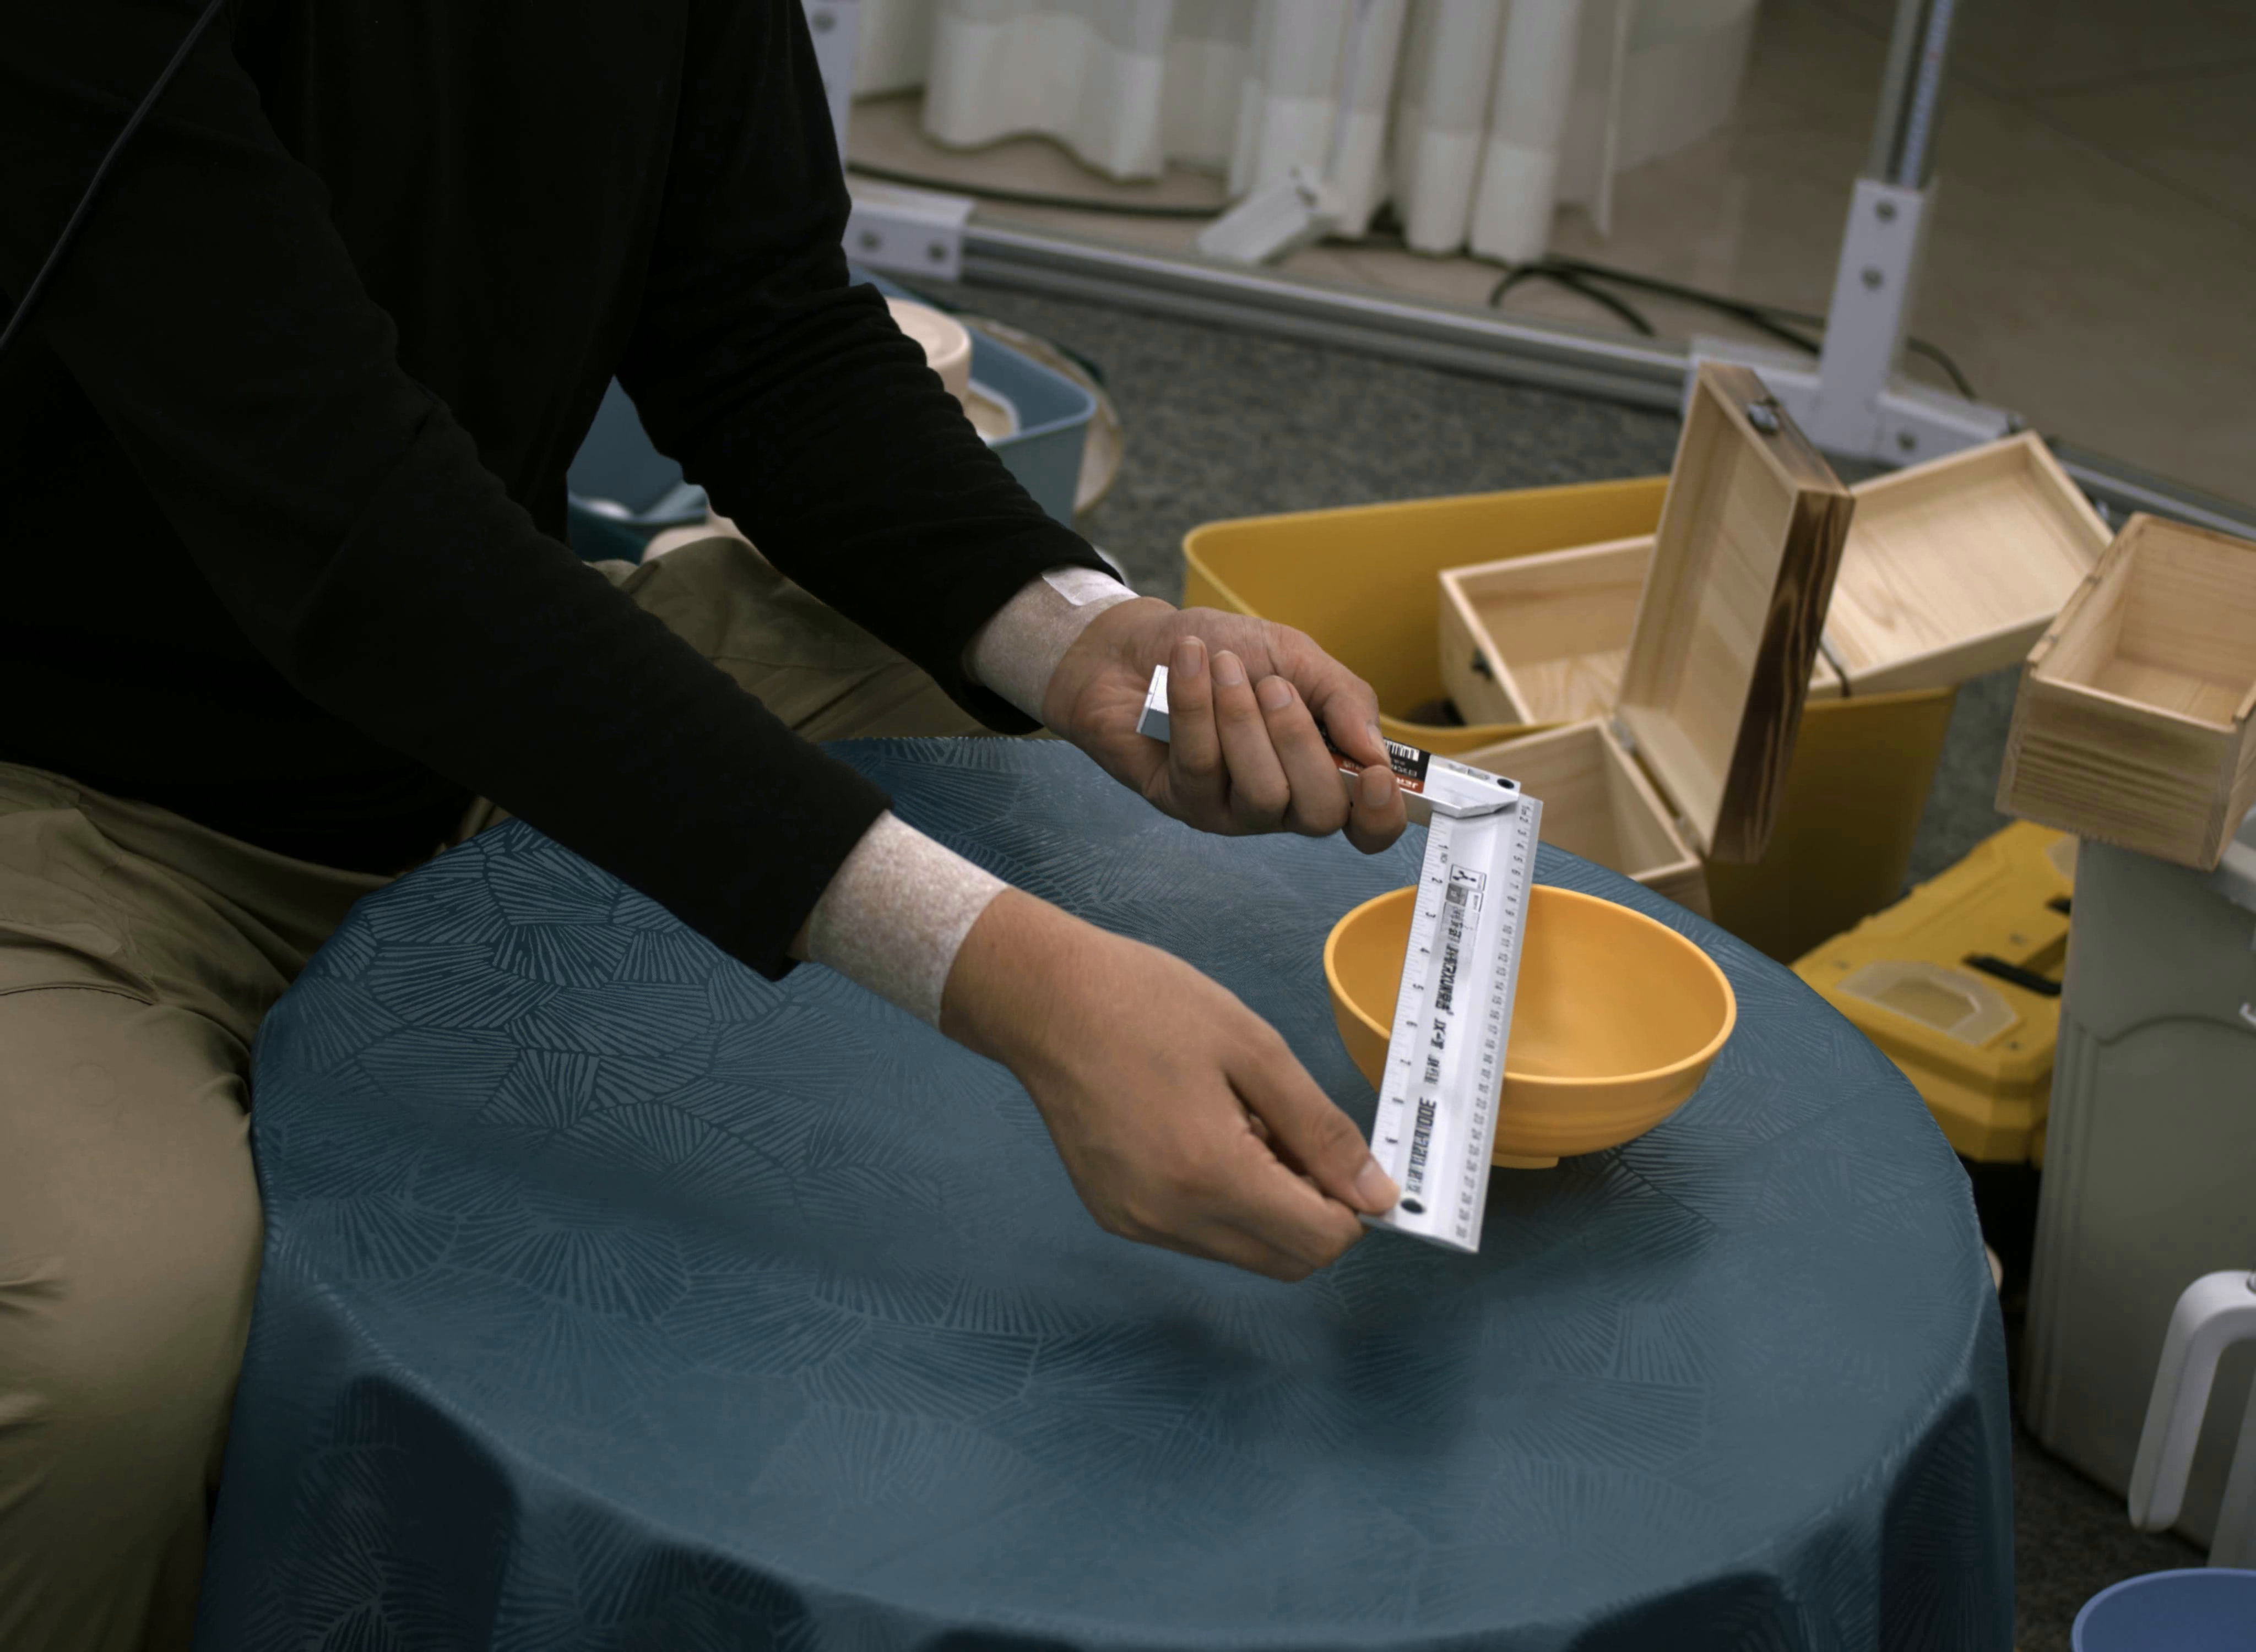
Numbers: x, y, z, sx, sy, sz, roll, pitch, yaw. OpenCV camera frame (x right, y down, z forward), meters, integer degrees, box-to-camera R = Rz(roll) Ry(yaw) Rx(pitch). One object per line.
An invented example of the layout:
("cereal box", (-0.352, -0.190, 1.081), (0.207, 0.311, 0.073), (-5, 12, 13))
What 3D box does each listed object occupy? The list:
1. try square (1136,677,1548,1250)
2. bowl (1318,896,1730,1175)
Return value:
("try square", (0.061, 0.041, 1.818), (0.152, 0.016, 0.314), (15, 29, 1))
("bowl", (0.134, 0.080, 1.857), (0.145, 0.060, 0.146), (5, 24, -3))
